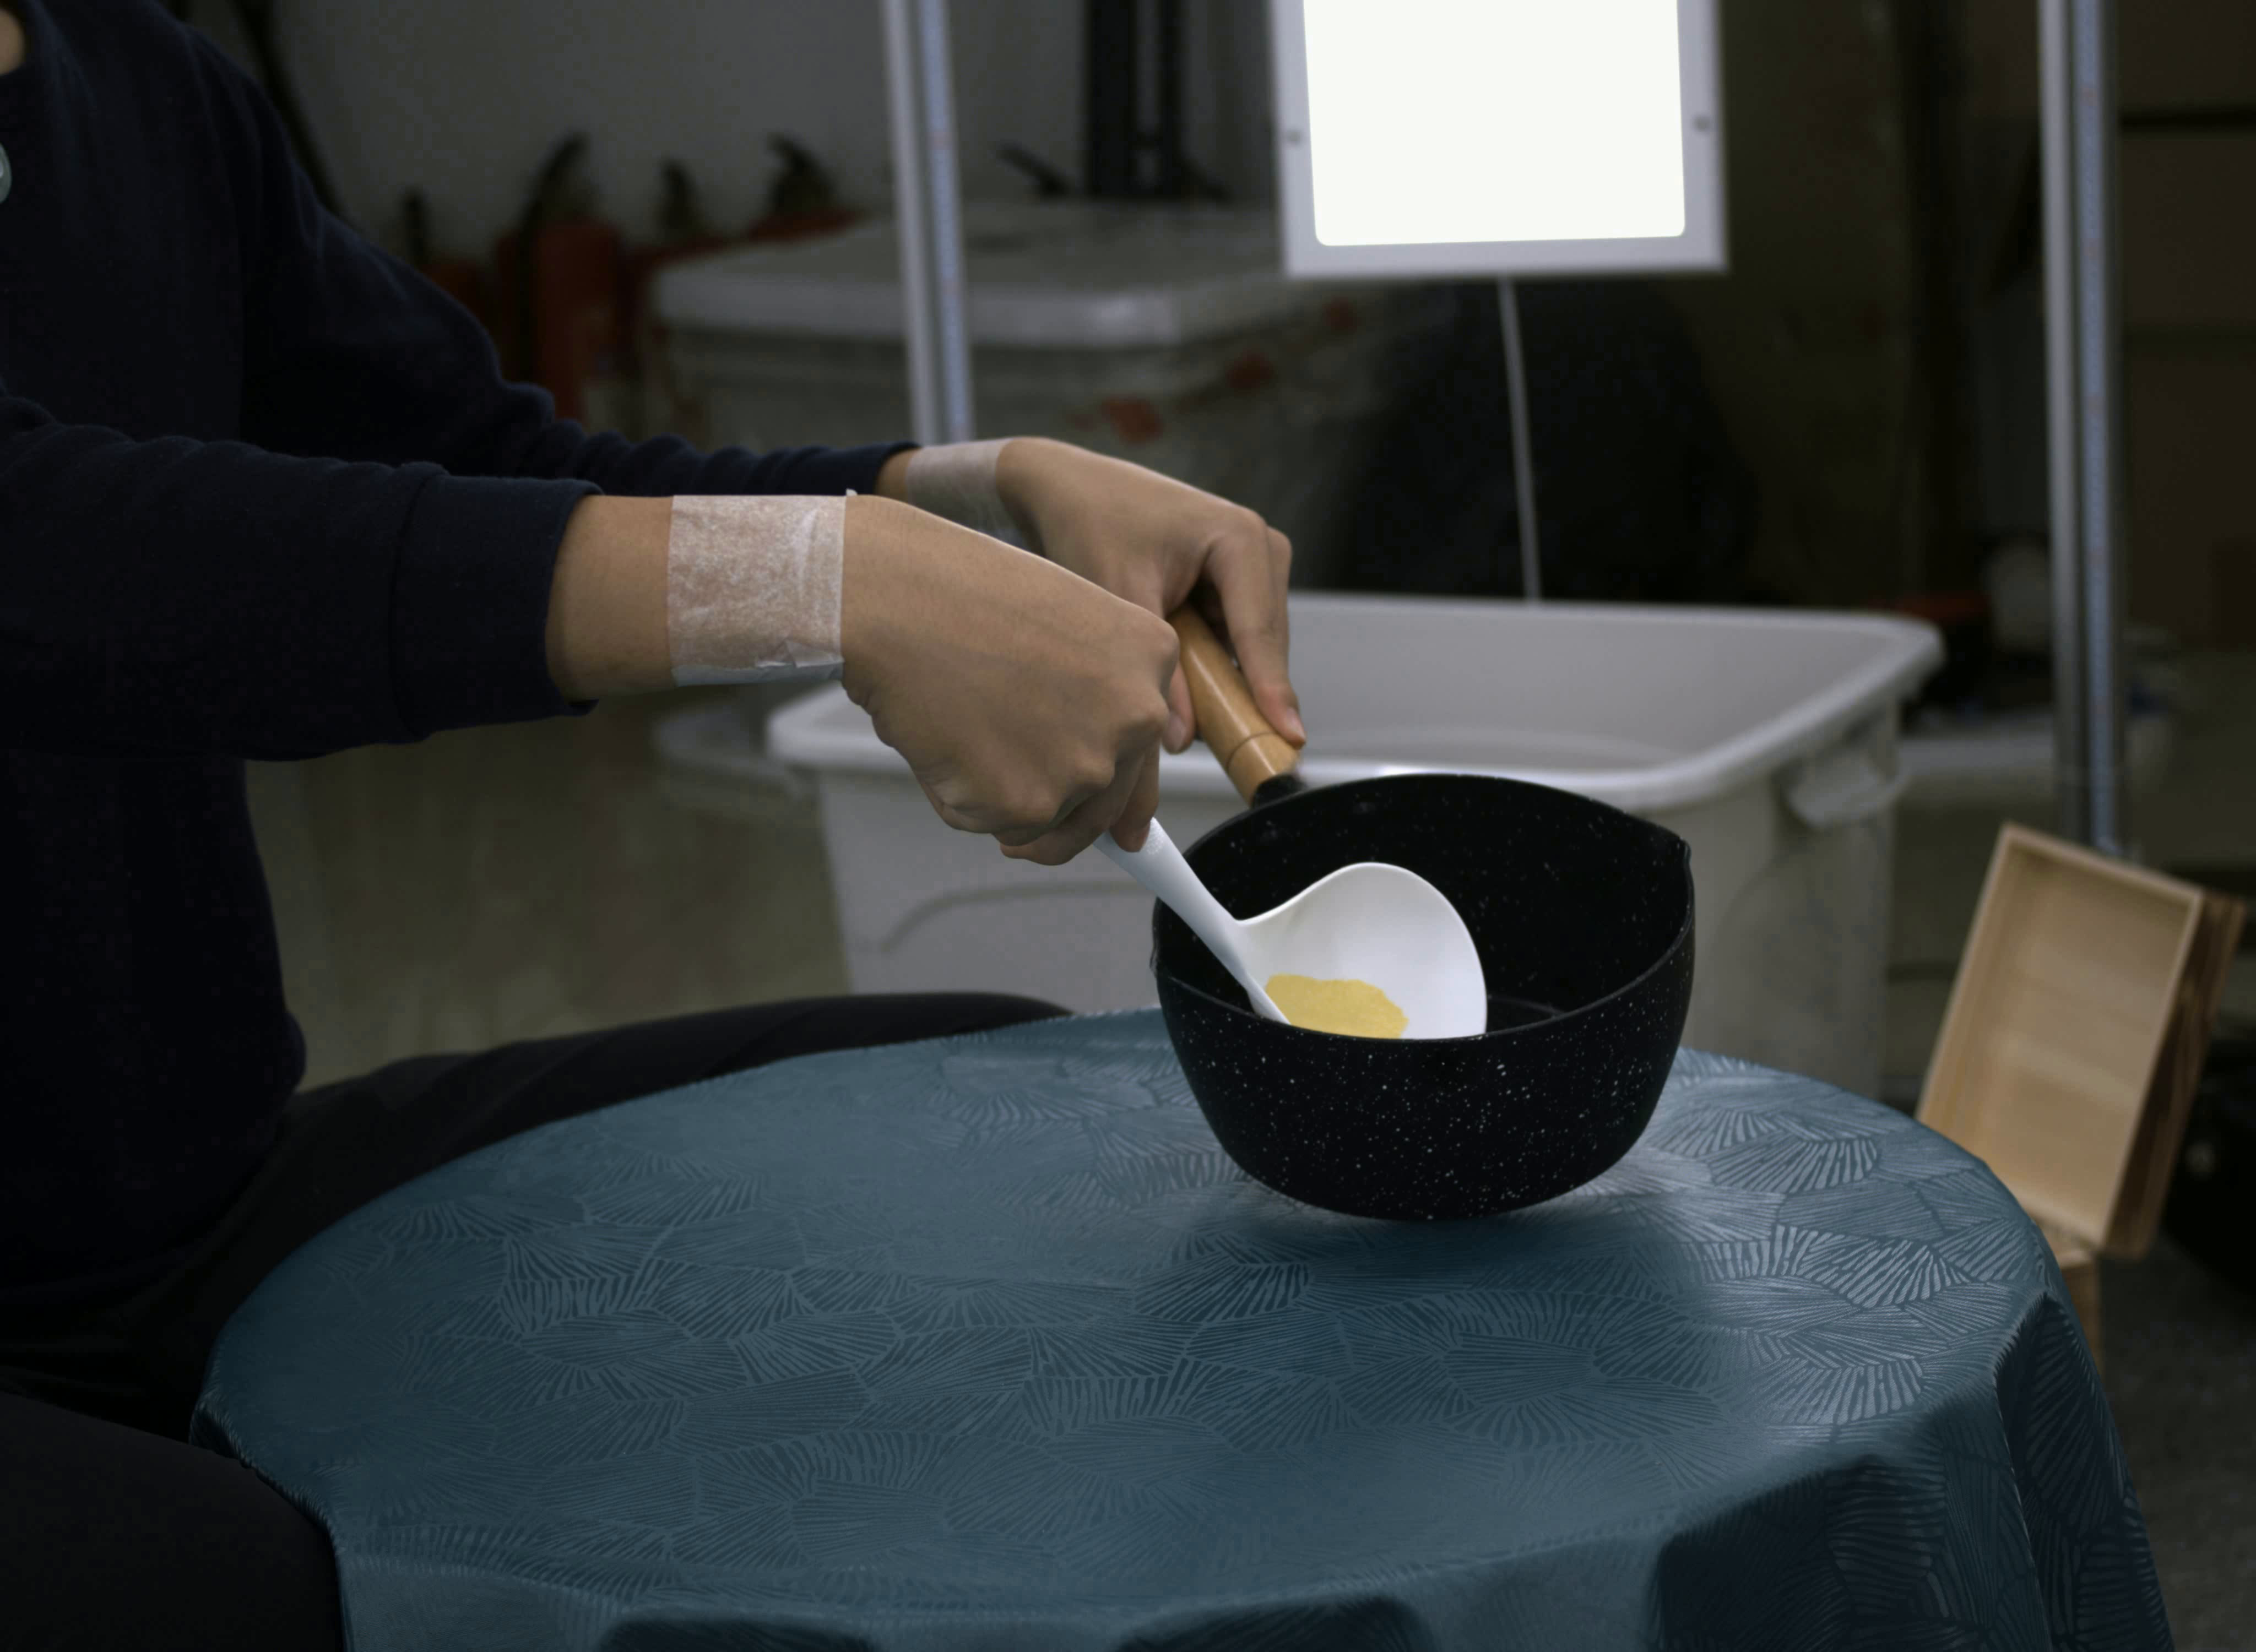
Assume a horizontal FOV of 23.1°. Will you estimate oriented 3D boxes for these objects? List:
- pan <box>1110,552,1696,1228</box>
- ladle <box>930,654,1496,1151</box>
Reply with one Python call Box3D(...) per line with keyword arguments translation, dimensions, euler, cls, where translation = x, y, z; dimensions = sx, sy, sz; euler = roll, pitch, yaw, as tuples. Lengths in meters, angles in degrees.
Box3D(translation=(0.070, 0.018, 1.941), dimensions=(0.204, 0.108, 0.347), euler=(-16, 32, -18), cls="pan")
Box3D(translation=(0.032, 0.019, 1.732), dimensions=(0.071, 0.090, 0.289), euler=(0, -23, 27), cls="ladle")
